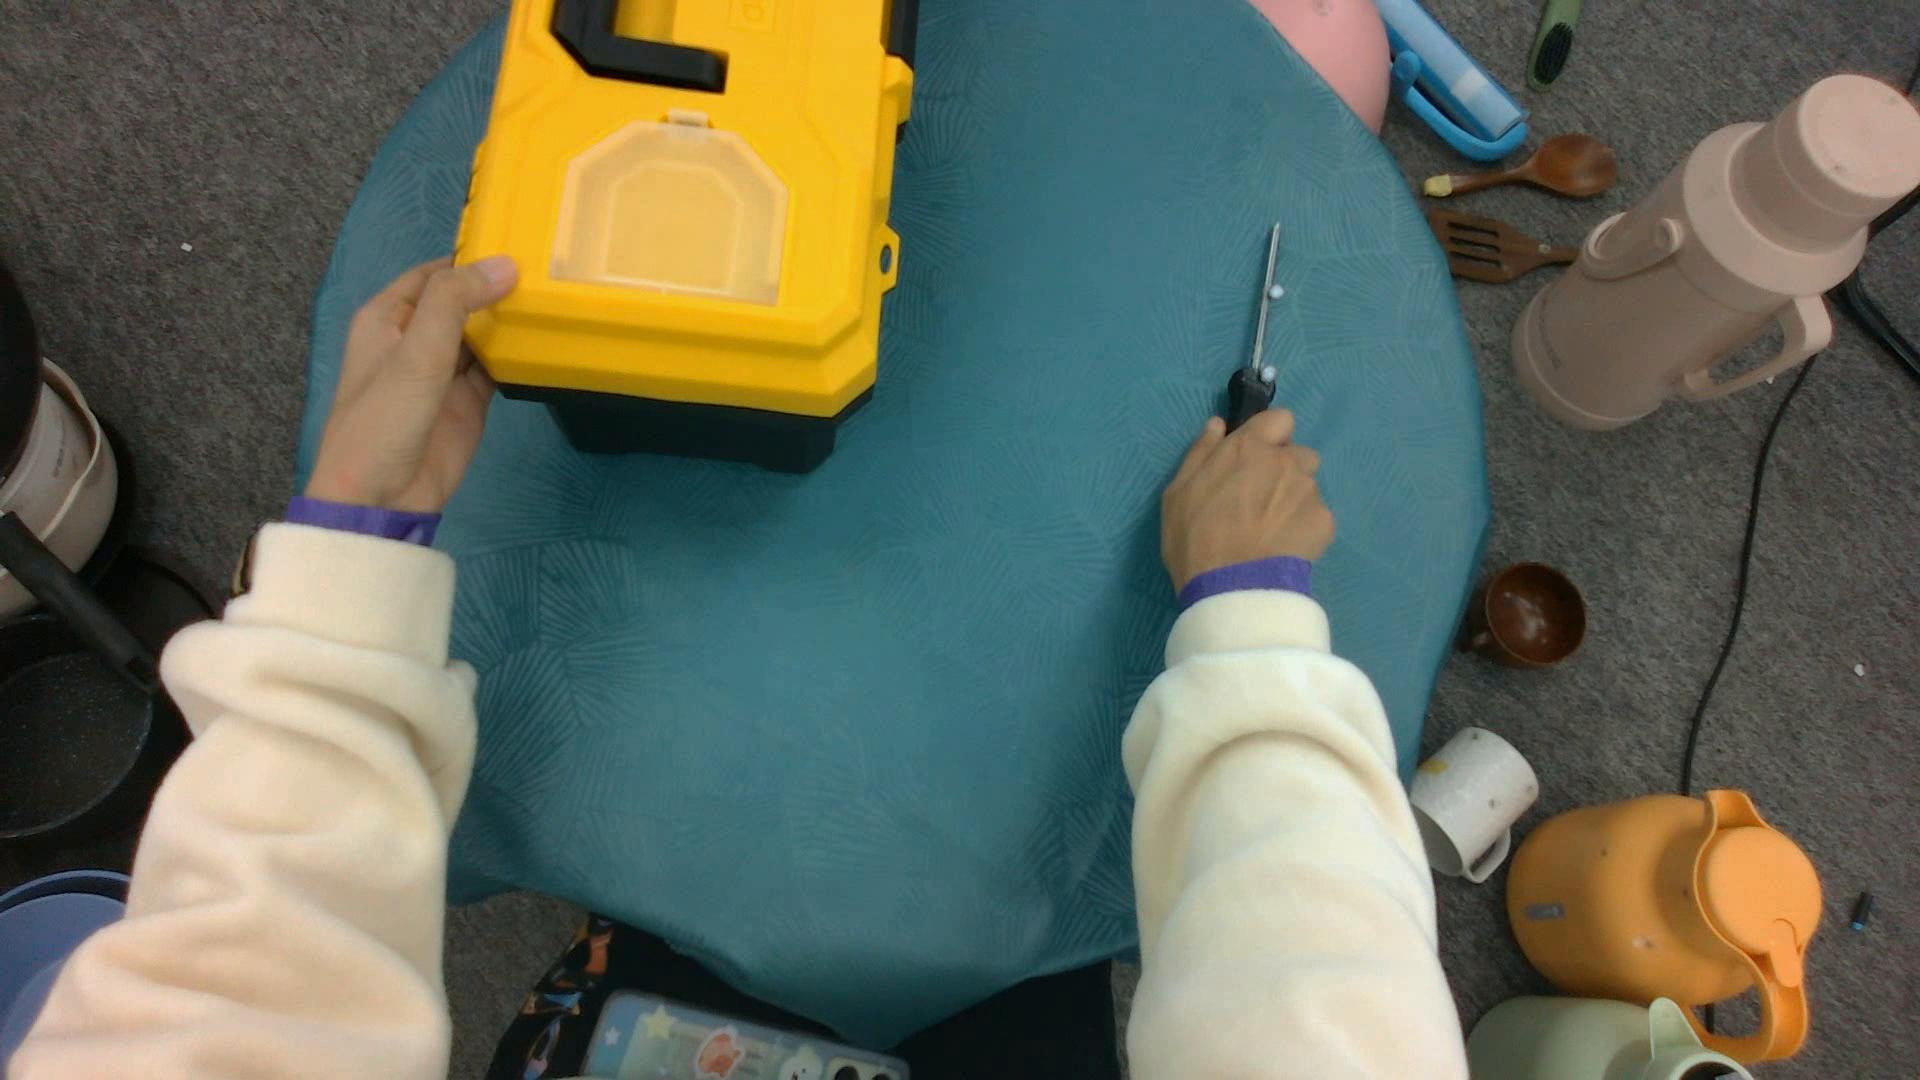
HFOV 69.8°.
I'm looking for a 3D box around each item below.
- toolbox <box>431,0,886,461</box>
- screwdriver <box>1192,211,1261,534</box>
[{"bbox_3d":[-0.120,-0.217,0.641,0.181,0.172,0.352,6,72,-6],"label":"toolbox"},{"bbox_3d":[0.148,-0.093,0.716,0.031,0.031,0.197,16,68,-2],"label":"screwdriver"}]
